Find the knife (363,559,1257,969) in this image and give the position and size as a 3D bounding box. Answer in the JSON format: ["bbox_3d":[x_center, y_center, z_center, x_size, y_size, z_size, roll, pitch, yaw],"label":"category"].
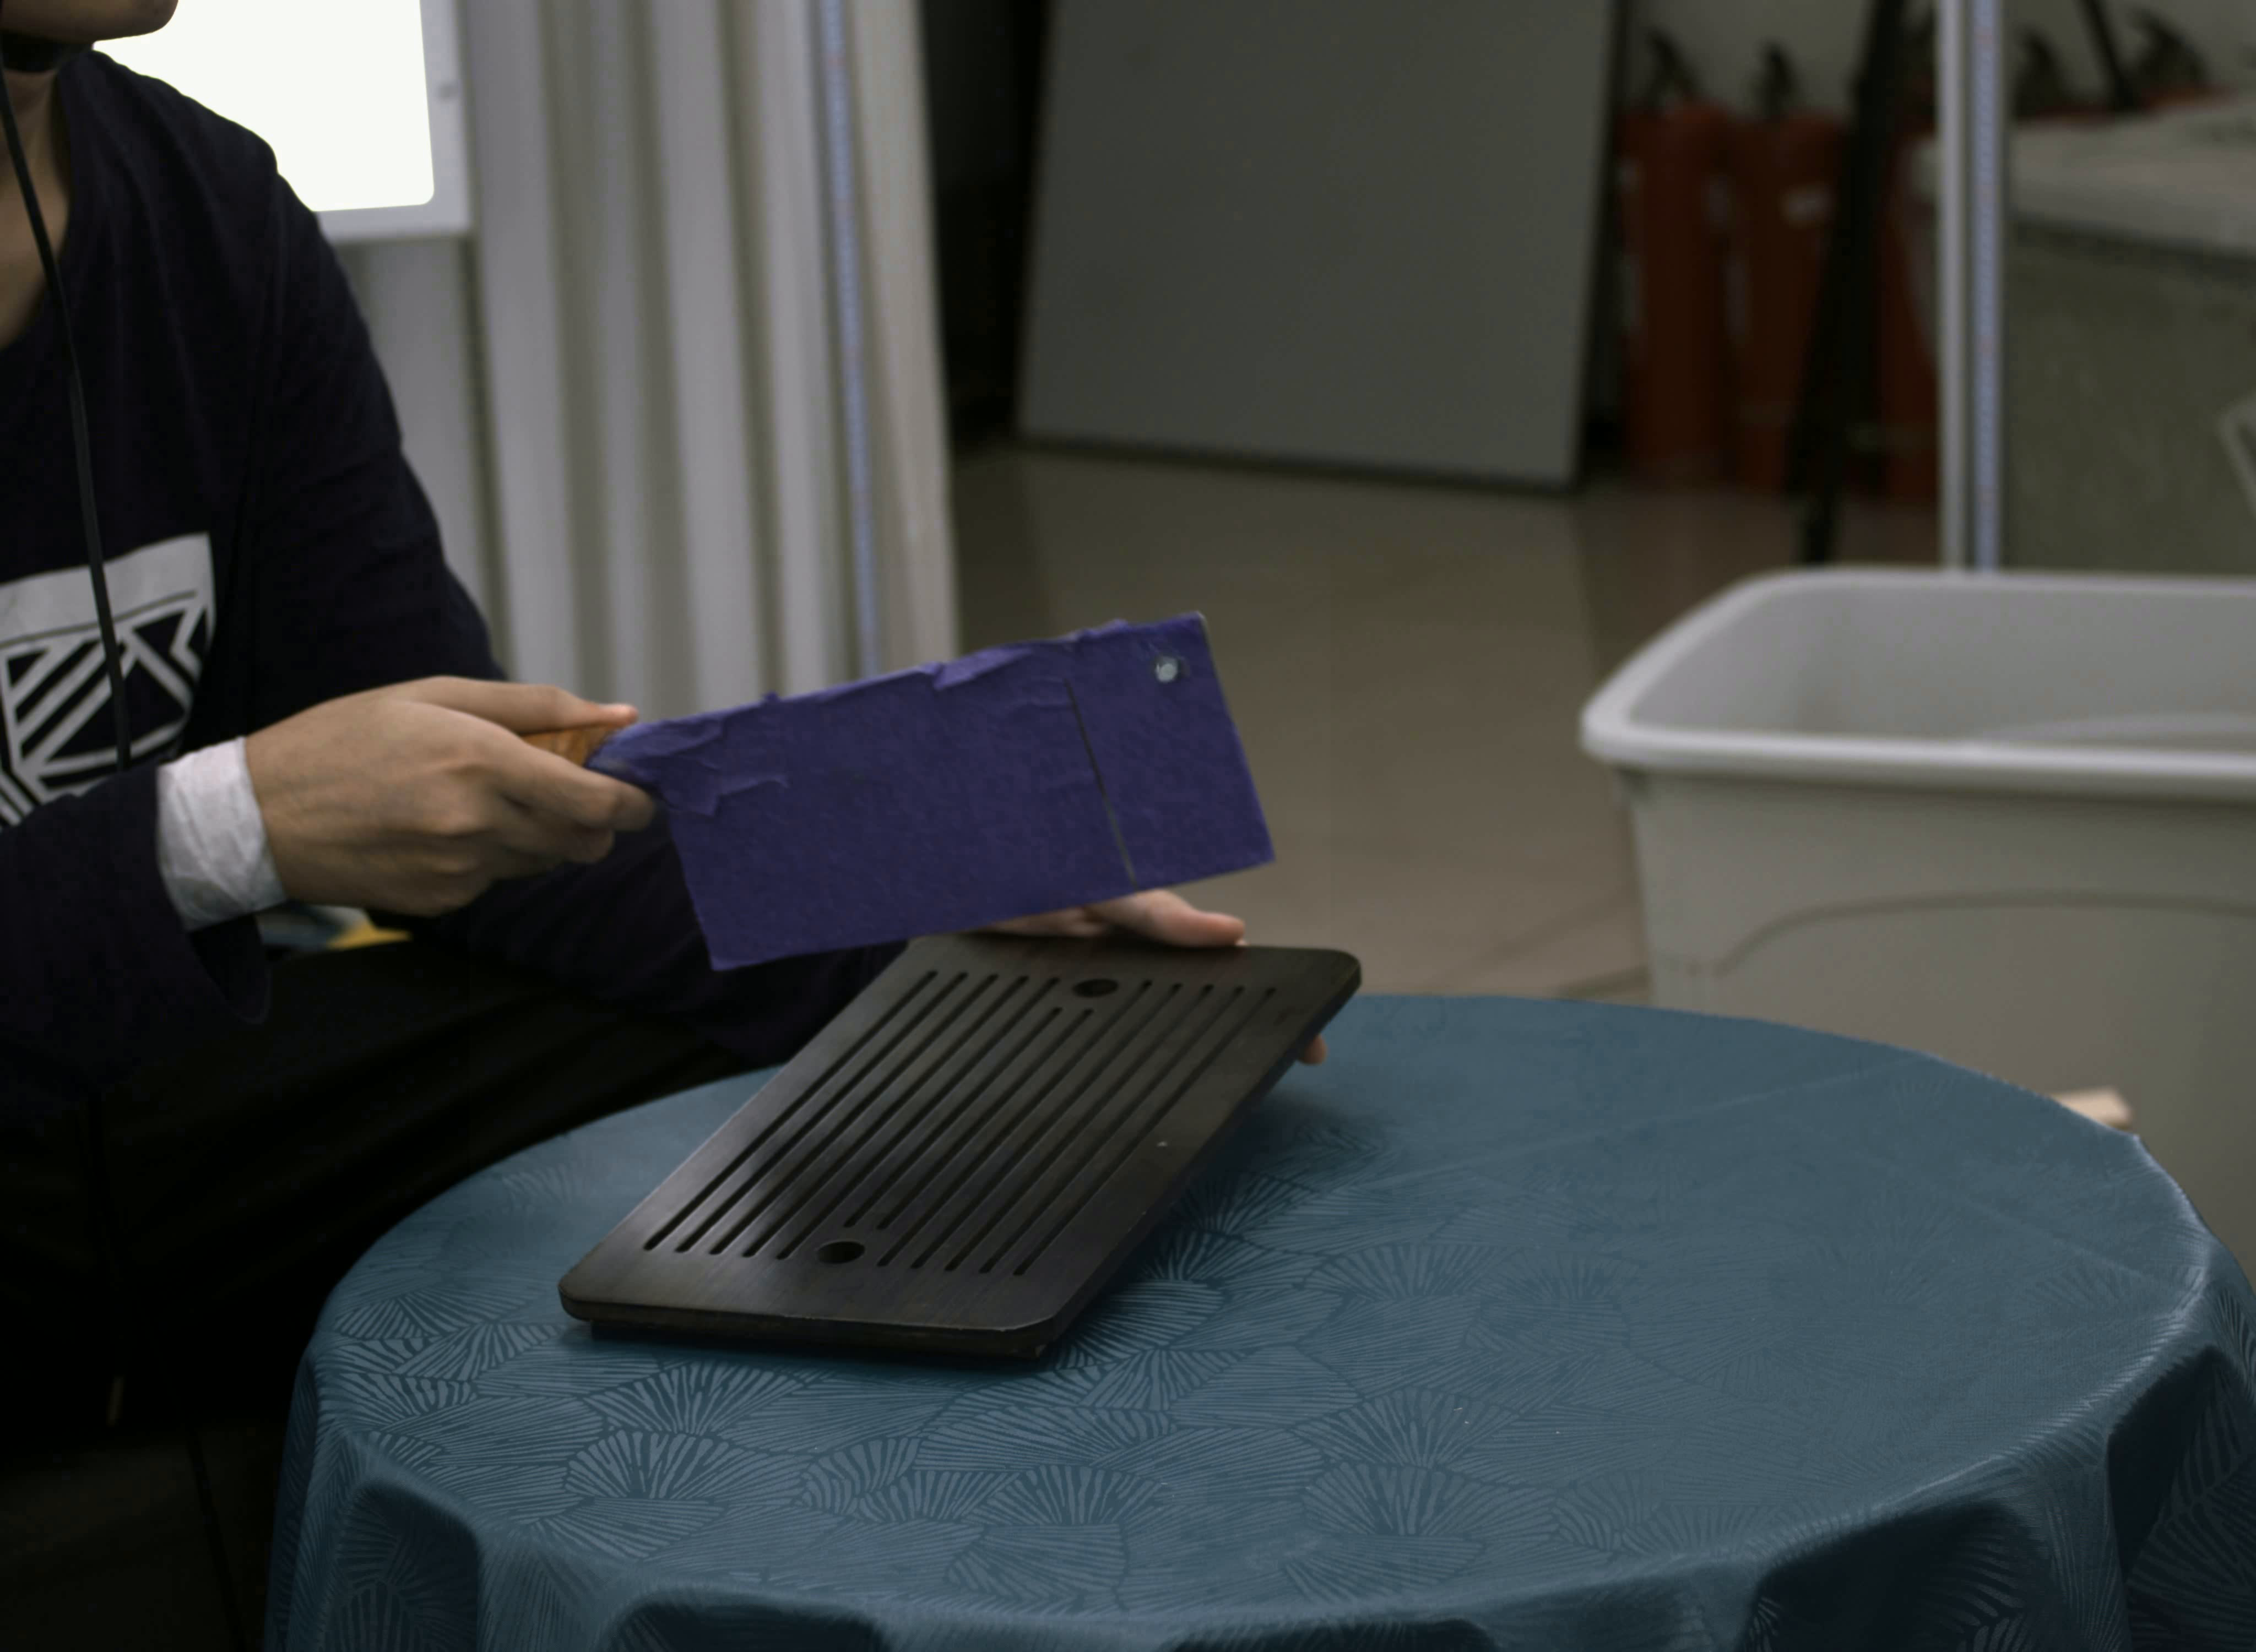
[{"bbox_3d":[-0.108,-0.003,1.794,0.316,0.105,0.032,-13,10,25],"label":"knife"}]

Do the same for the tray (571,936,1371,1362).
[{"bbox_3d":[-0.044,0.102,1.759,0.170,0.019,0.303,1,21,23],"label":"tray"}]
